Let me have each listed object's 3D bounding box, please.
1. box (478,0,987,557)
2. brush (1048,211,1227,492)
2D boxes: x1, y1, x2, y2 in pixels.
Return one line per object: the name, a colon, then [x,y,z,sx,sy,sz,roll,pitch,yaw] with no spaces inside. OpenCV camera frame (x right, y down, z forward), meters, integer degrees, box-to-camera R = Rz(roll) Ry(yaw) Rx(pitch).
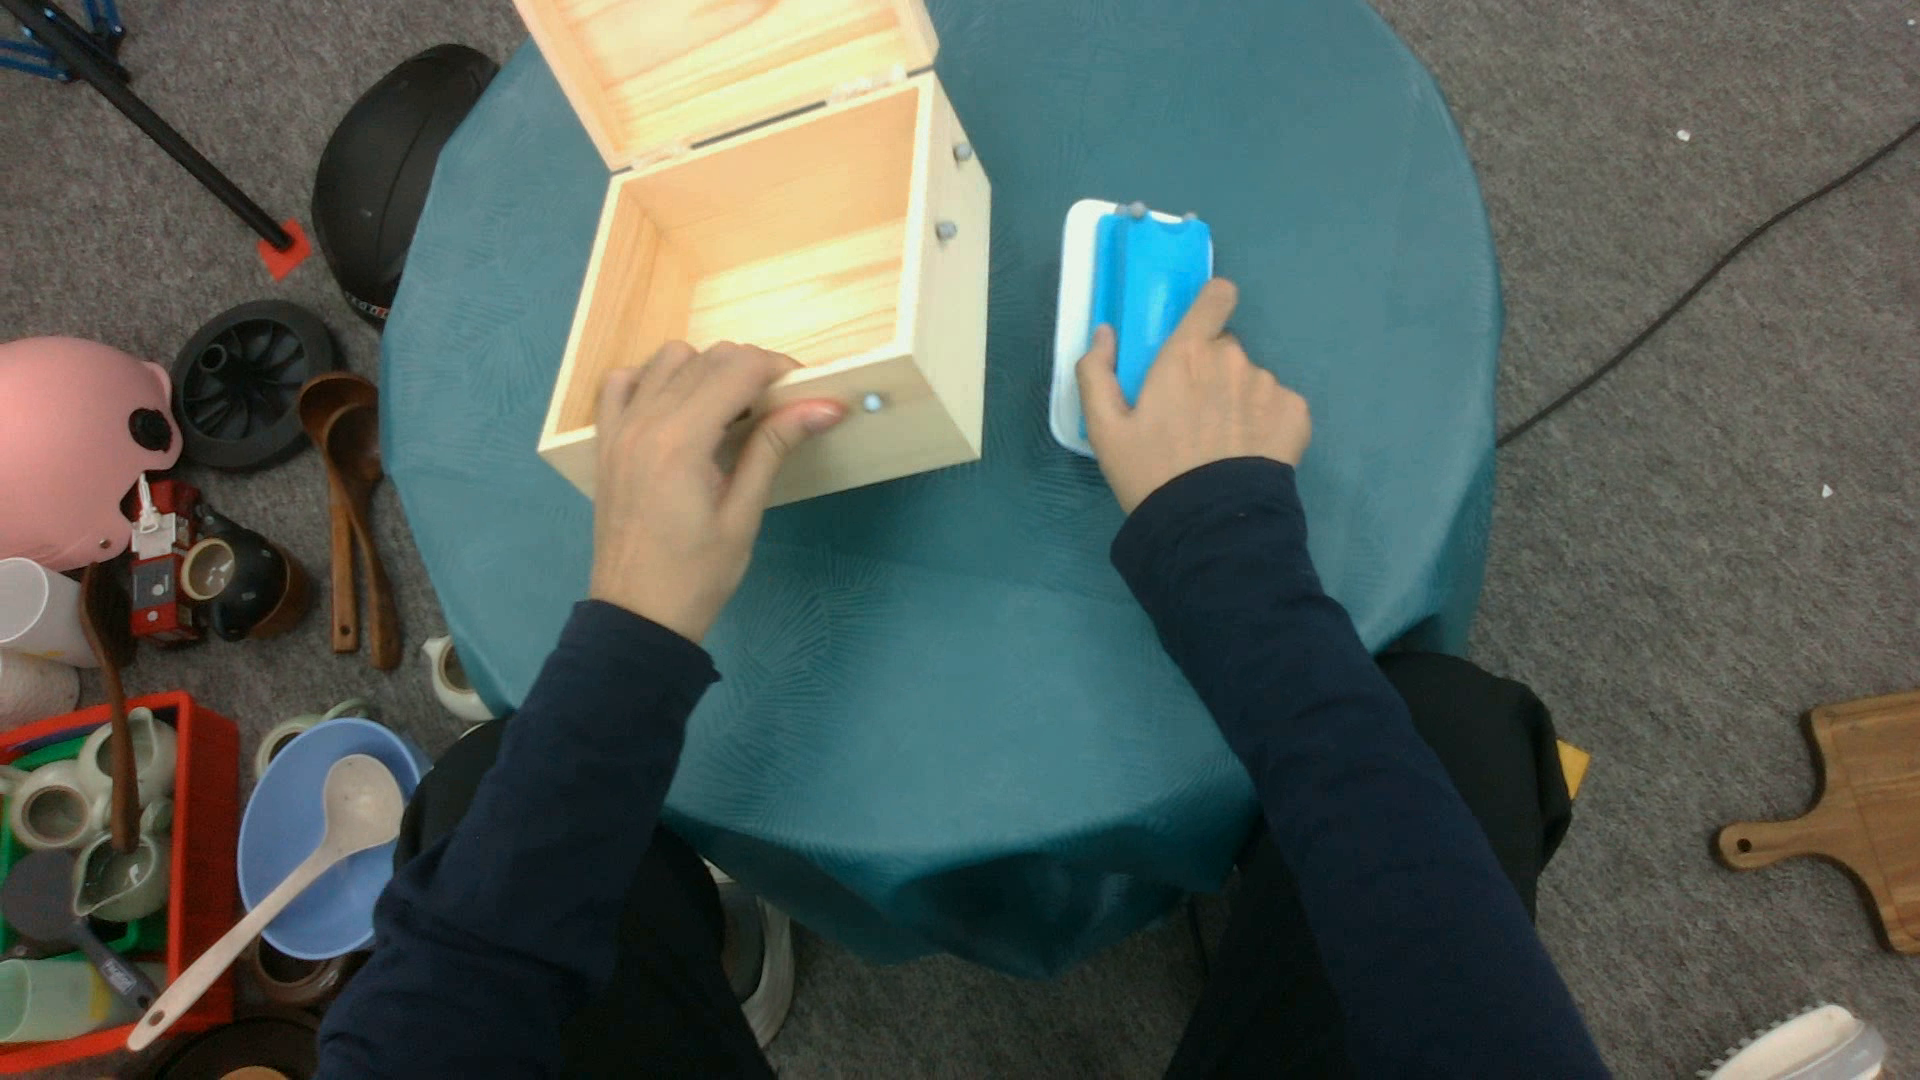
box: [-0.129,-0.178,0.617,0.181,0.253,0.266,-17,50,26]
brush: [0.095,-0.099,0.679,0.084,0.055,0.144,14,71,-14]
